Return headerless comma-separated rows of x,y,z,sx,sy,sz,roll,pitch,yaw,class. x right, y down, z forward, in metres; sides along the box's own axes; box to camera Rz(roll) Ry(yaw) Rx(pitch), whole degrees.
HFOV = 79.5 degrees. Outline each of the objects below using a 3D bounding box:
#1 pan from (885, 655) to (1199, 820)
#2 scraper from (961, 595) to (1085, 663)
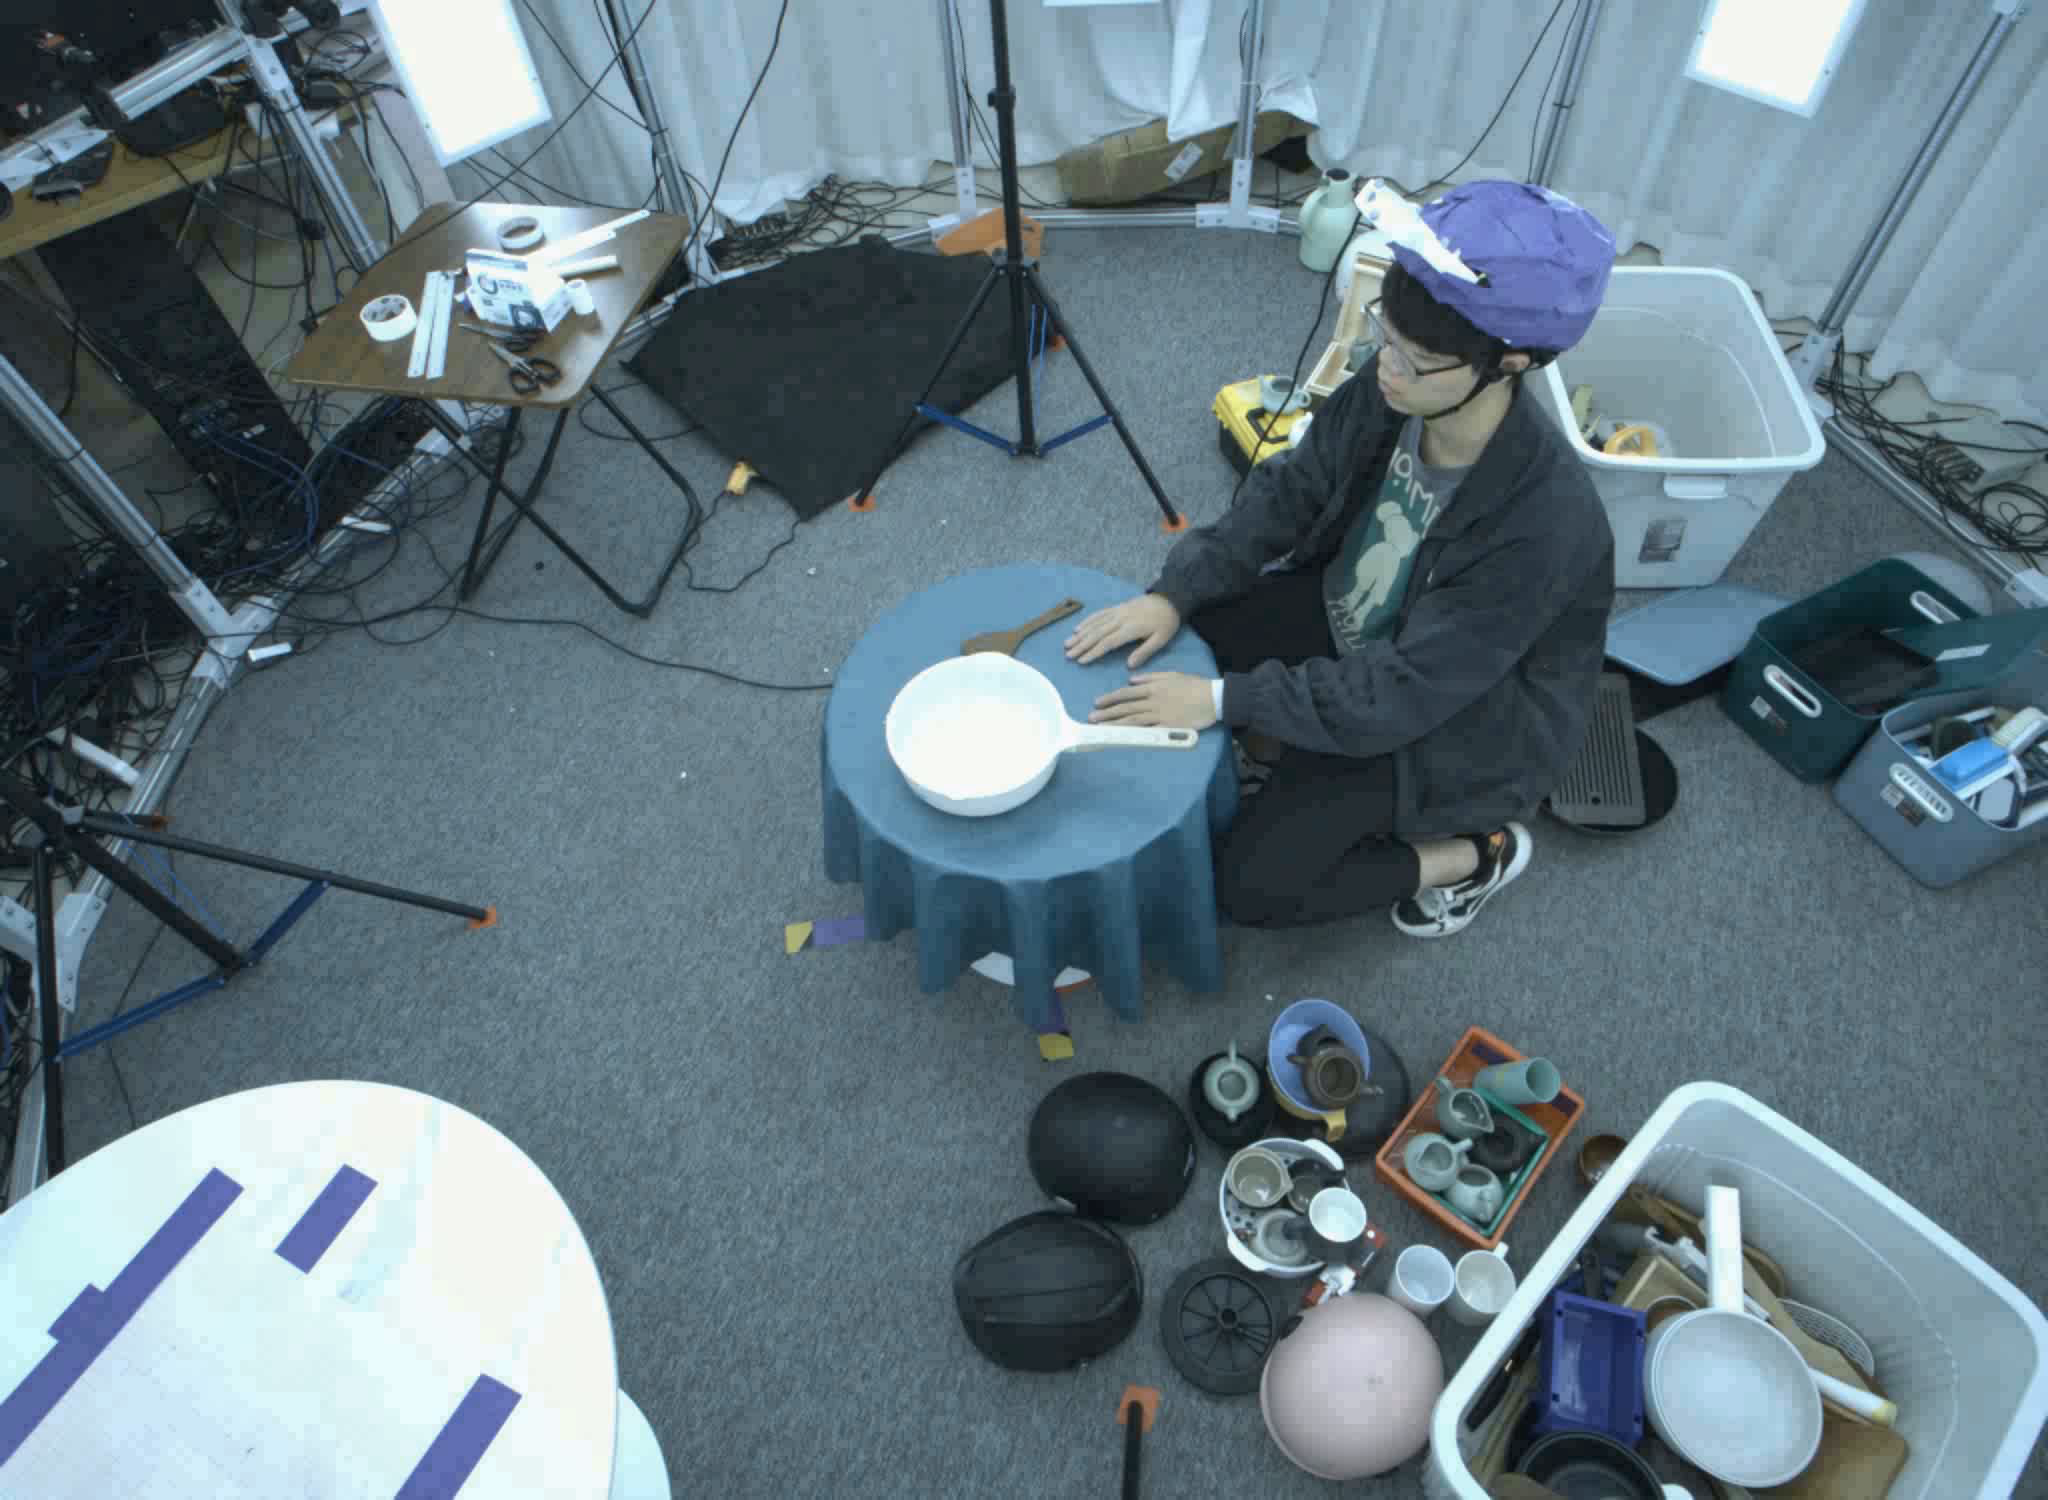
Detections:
0.024,-0.005,1.721,0.433,0.103,0.261,6,53,6,pan
0.004,-0.188,1.909,0.213,0.011,0.074,-30,60,-19,scraper
